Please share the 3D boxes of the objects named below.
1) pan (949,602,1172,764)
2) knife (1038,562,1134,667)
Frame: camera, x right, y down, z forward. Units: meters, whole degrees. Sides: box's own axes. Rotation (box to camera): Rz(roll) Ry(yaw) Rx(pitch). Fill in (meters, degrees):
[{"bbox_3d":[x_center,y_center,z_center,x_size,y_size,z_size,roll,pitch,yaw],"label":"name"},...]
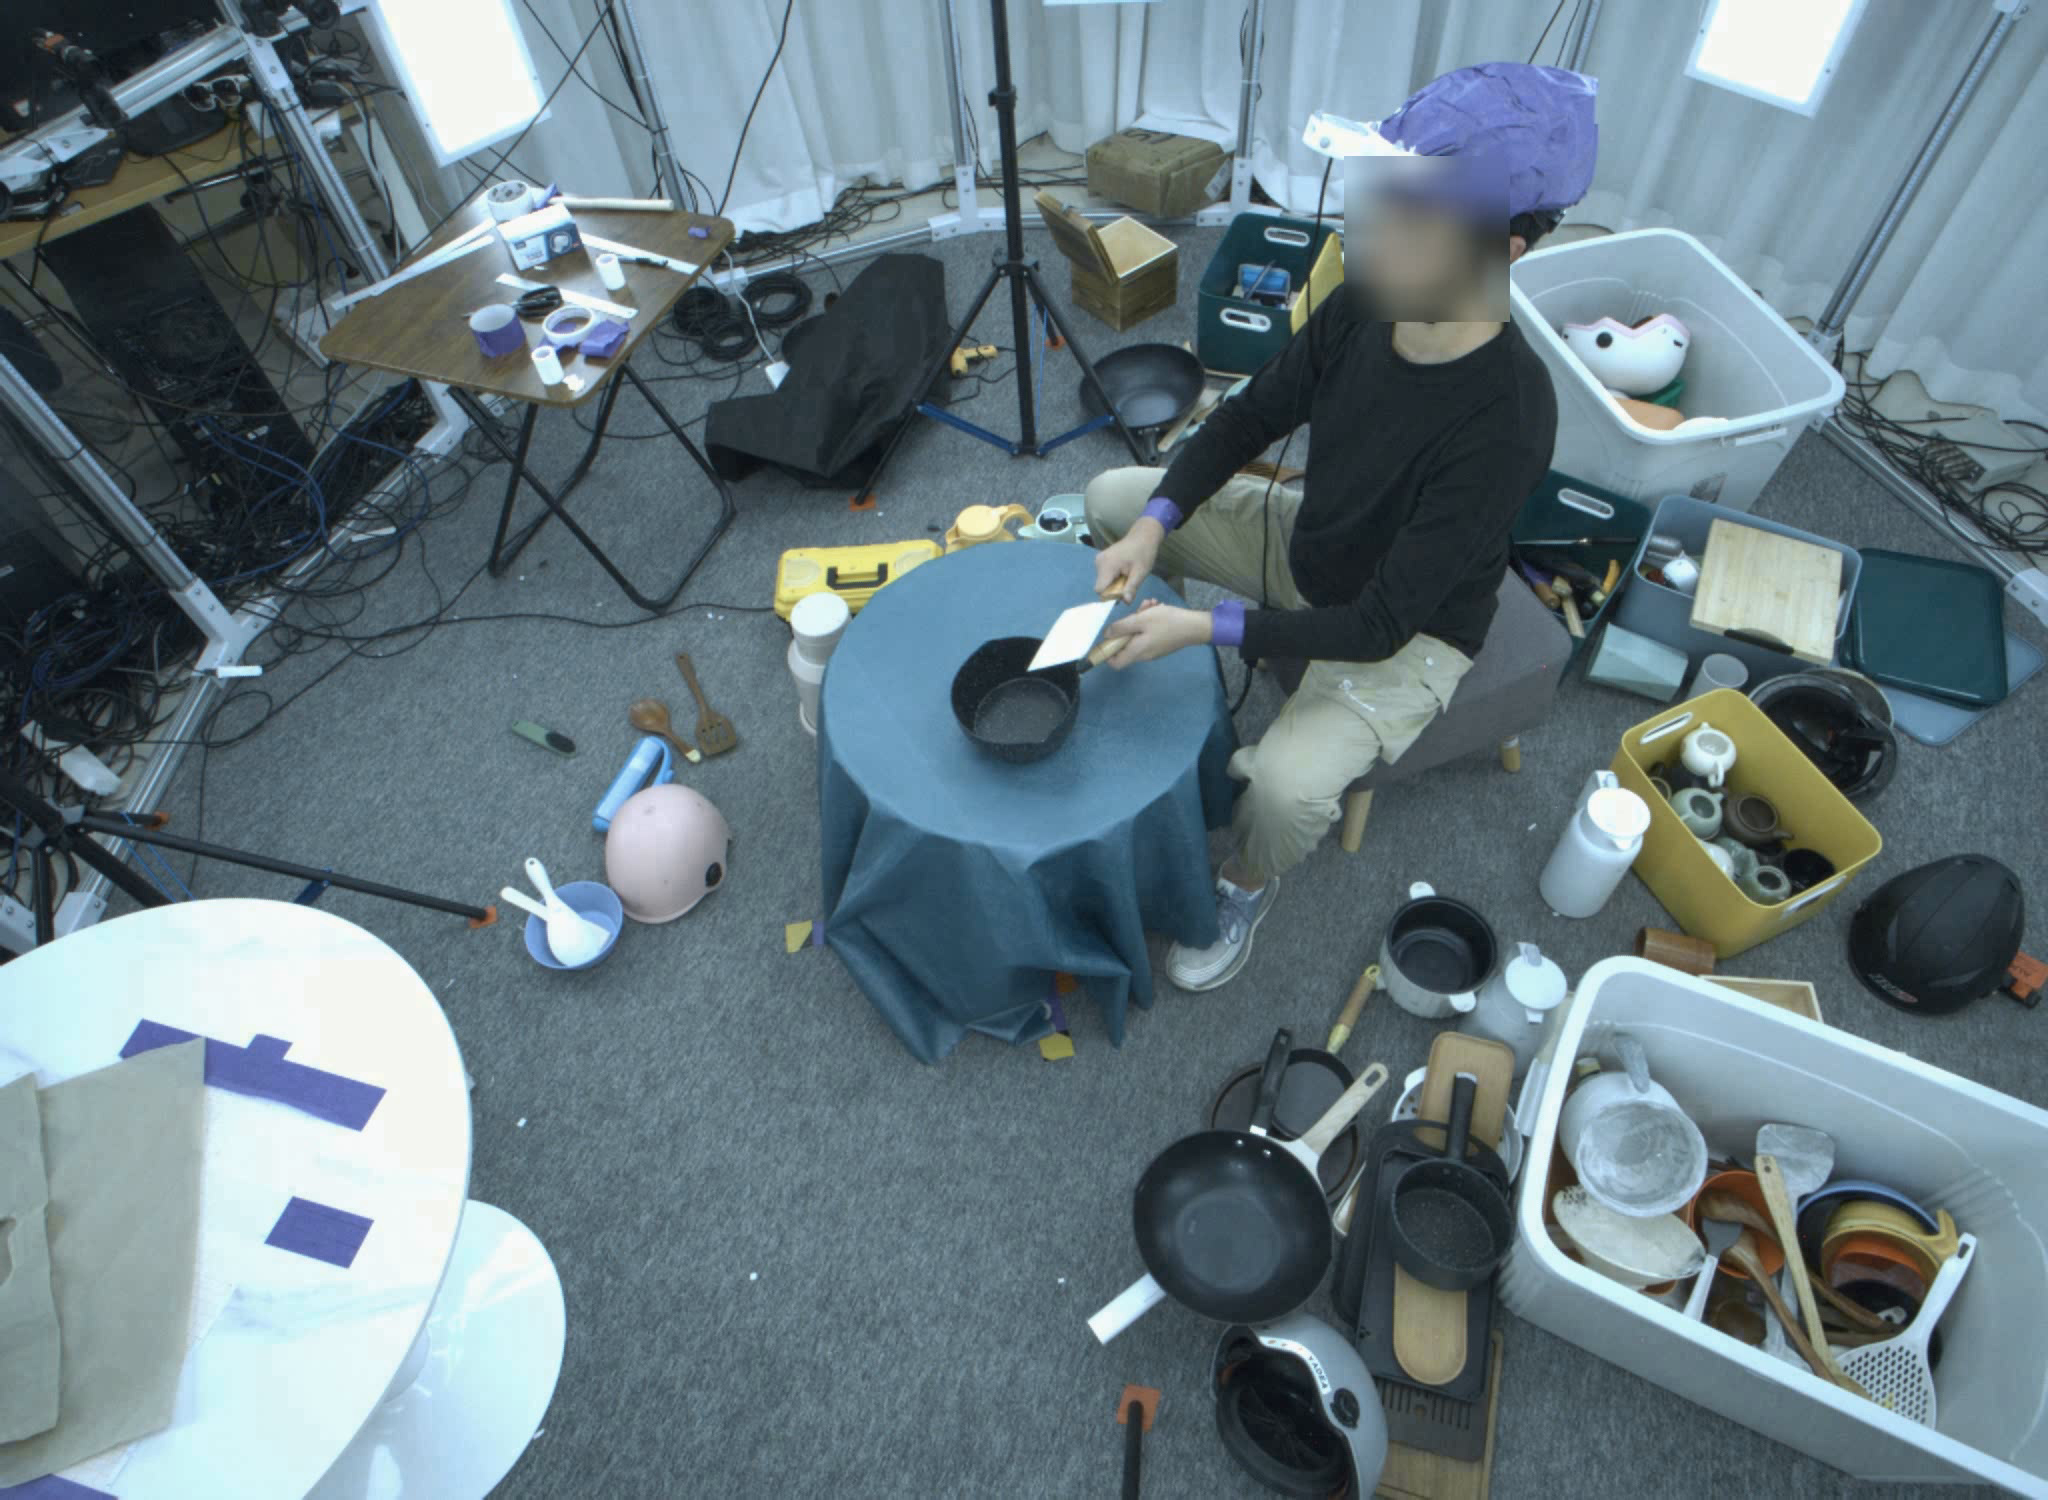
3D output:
[{"bbox_3d":[0.060,-0.107,1.769,0.344,0.110,0.204,-27,59,-6],"label":"pan"},{"bbox_3d":[0.089,-0.196,1.771,0.091,0.021,0.306,-11,27,26],"label":"knife"}]
